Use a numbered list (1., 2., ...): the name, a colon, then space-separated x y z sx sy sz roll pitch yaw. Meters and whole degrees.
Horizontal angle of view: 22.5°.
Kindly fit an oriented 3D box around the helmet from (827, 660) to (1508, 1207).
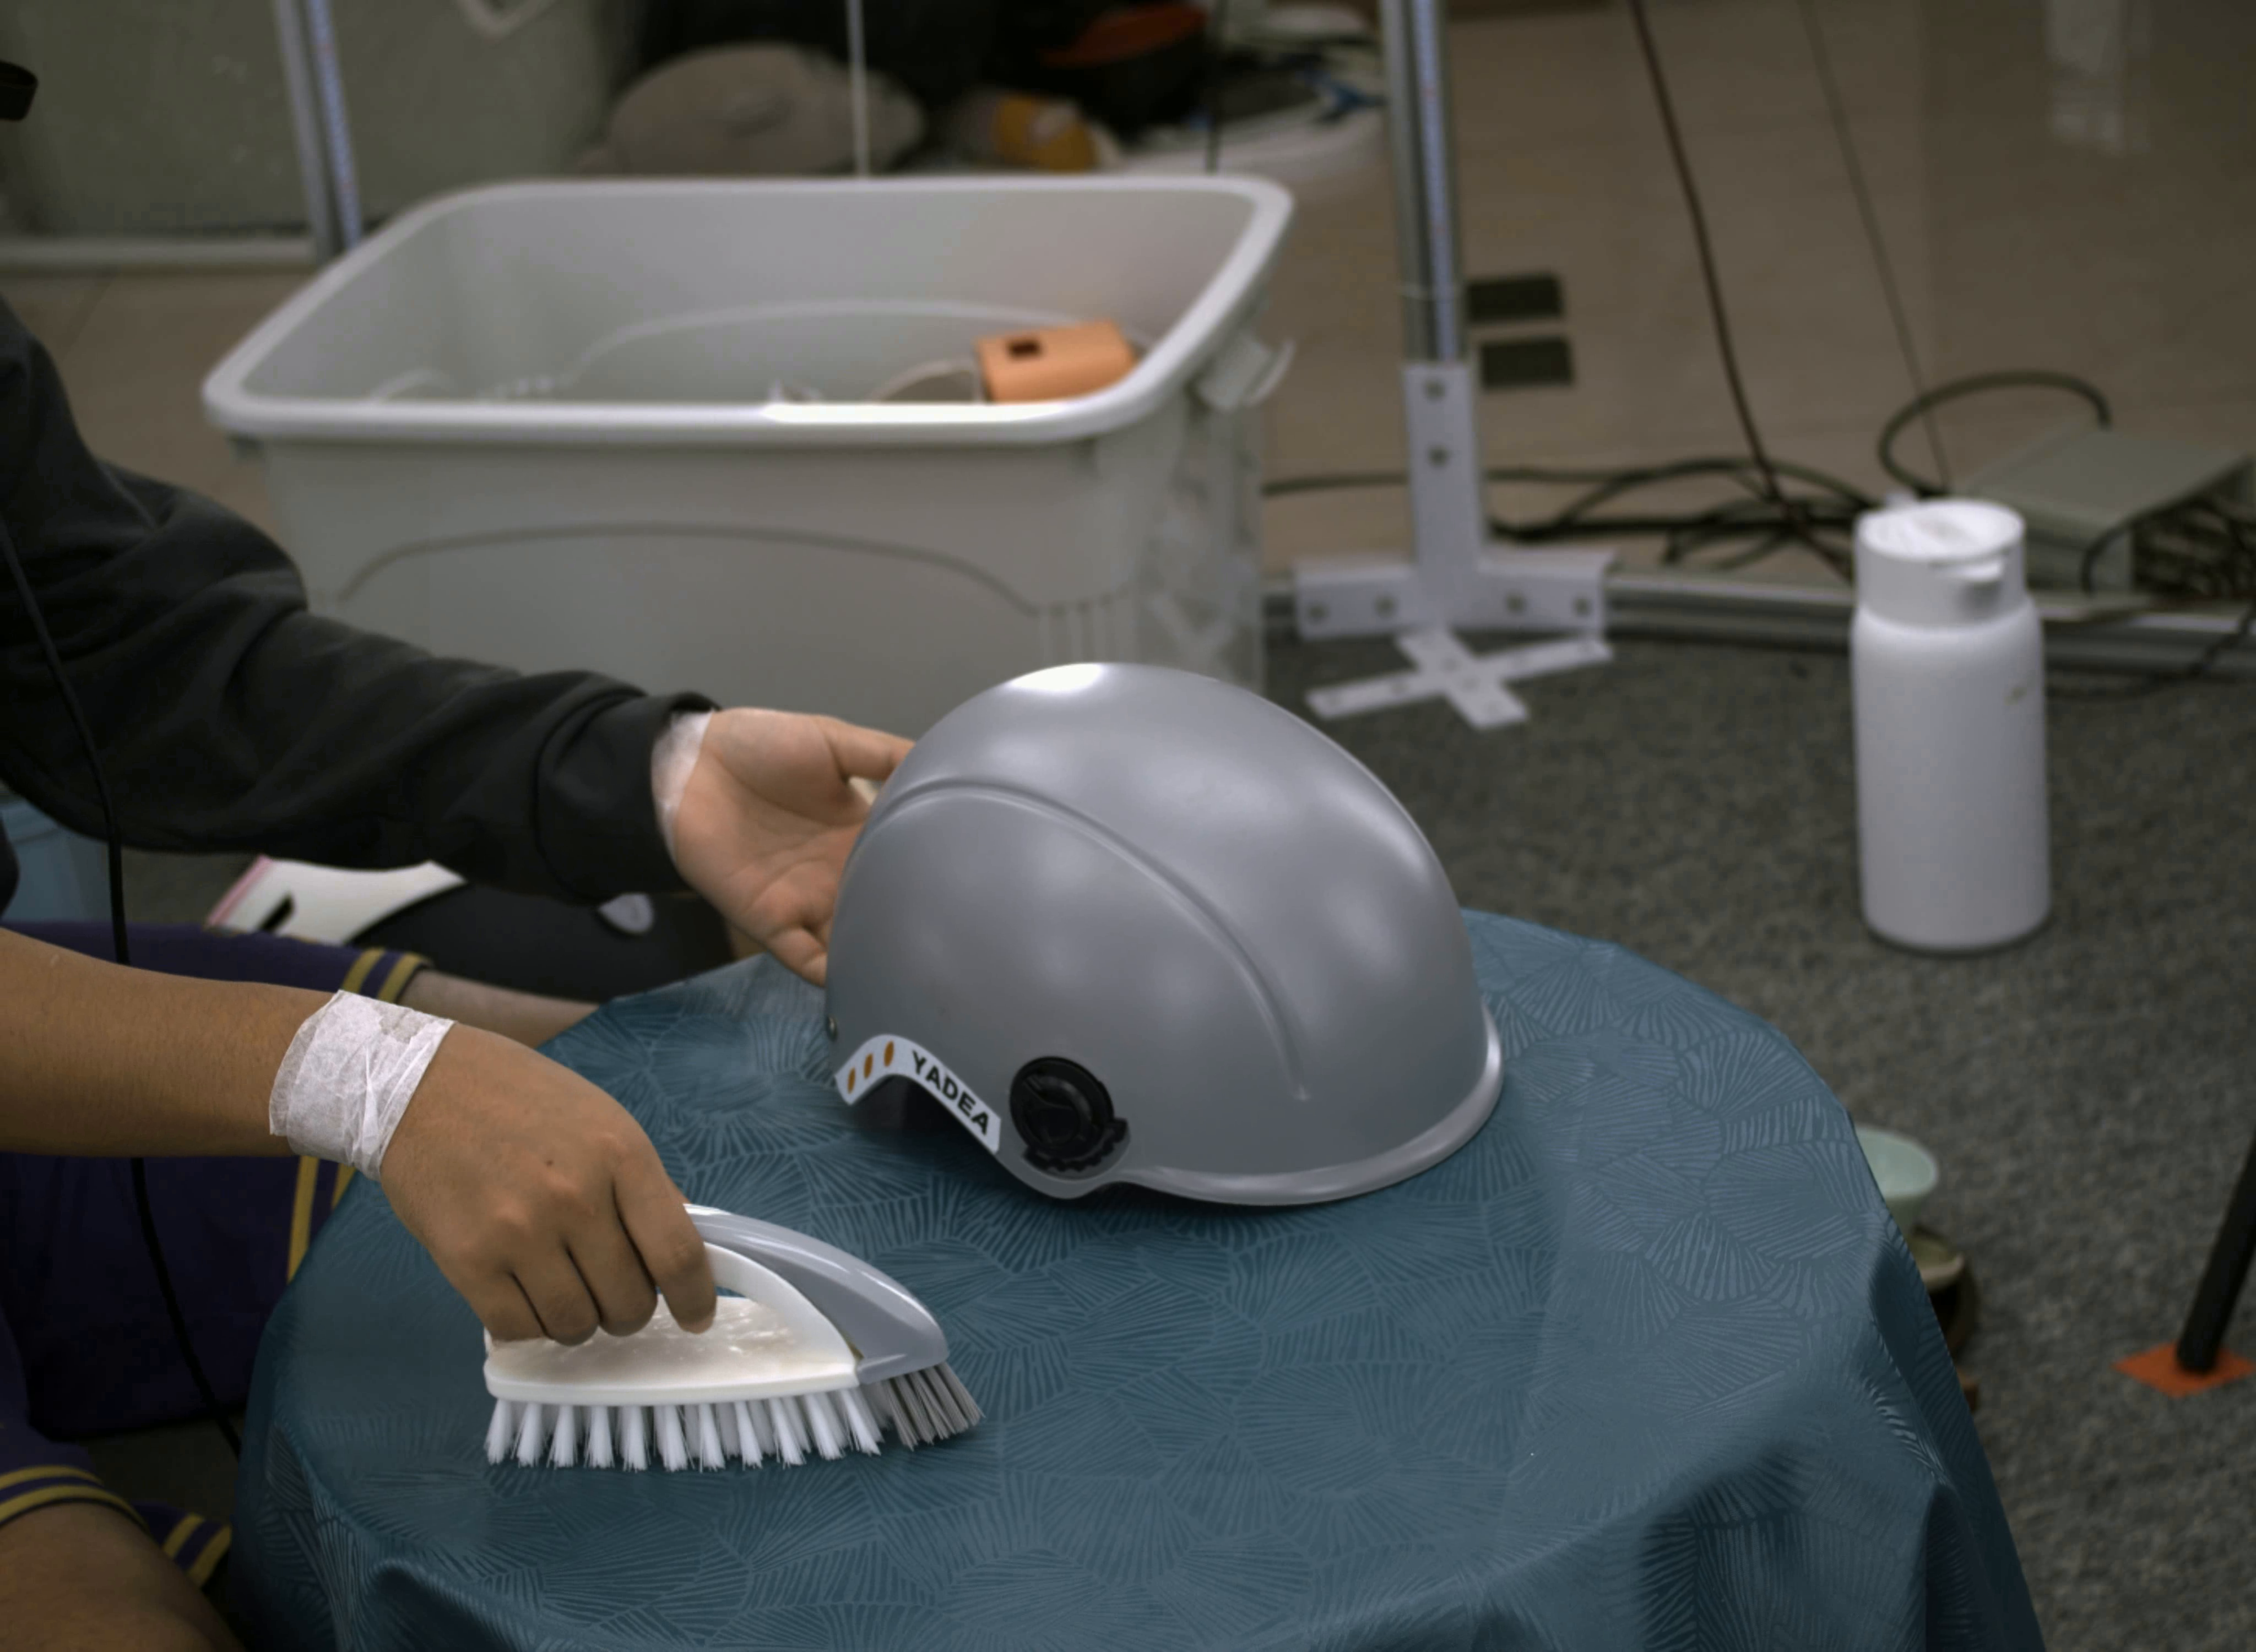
1. helmet: 0.011 0.026 2.190 0.274 0.171 0.229 15 35 34

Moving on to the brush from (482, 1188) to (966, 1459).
1. brush: -0.144 0.172 1.999 0.175 0.096 0.060 4 30 13
